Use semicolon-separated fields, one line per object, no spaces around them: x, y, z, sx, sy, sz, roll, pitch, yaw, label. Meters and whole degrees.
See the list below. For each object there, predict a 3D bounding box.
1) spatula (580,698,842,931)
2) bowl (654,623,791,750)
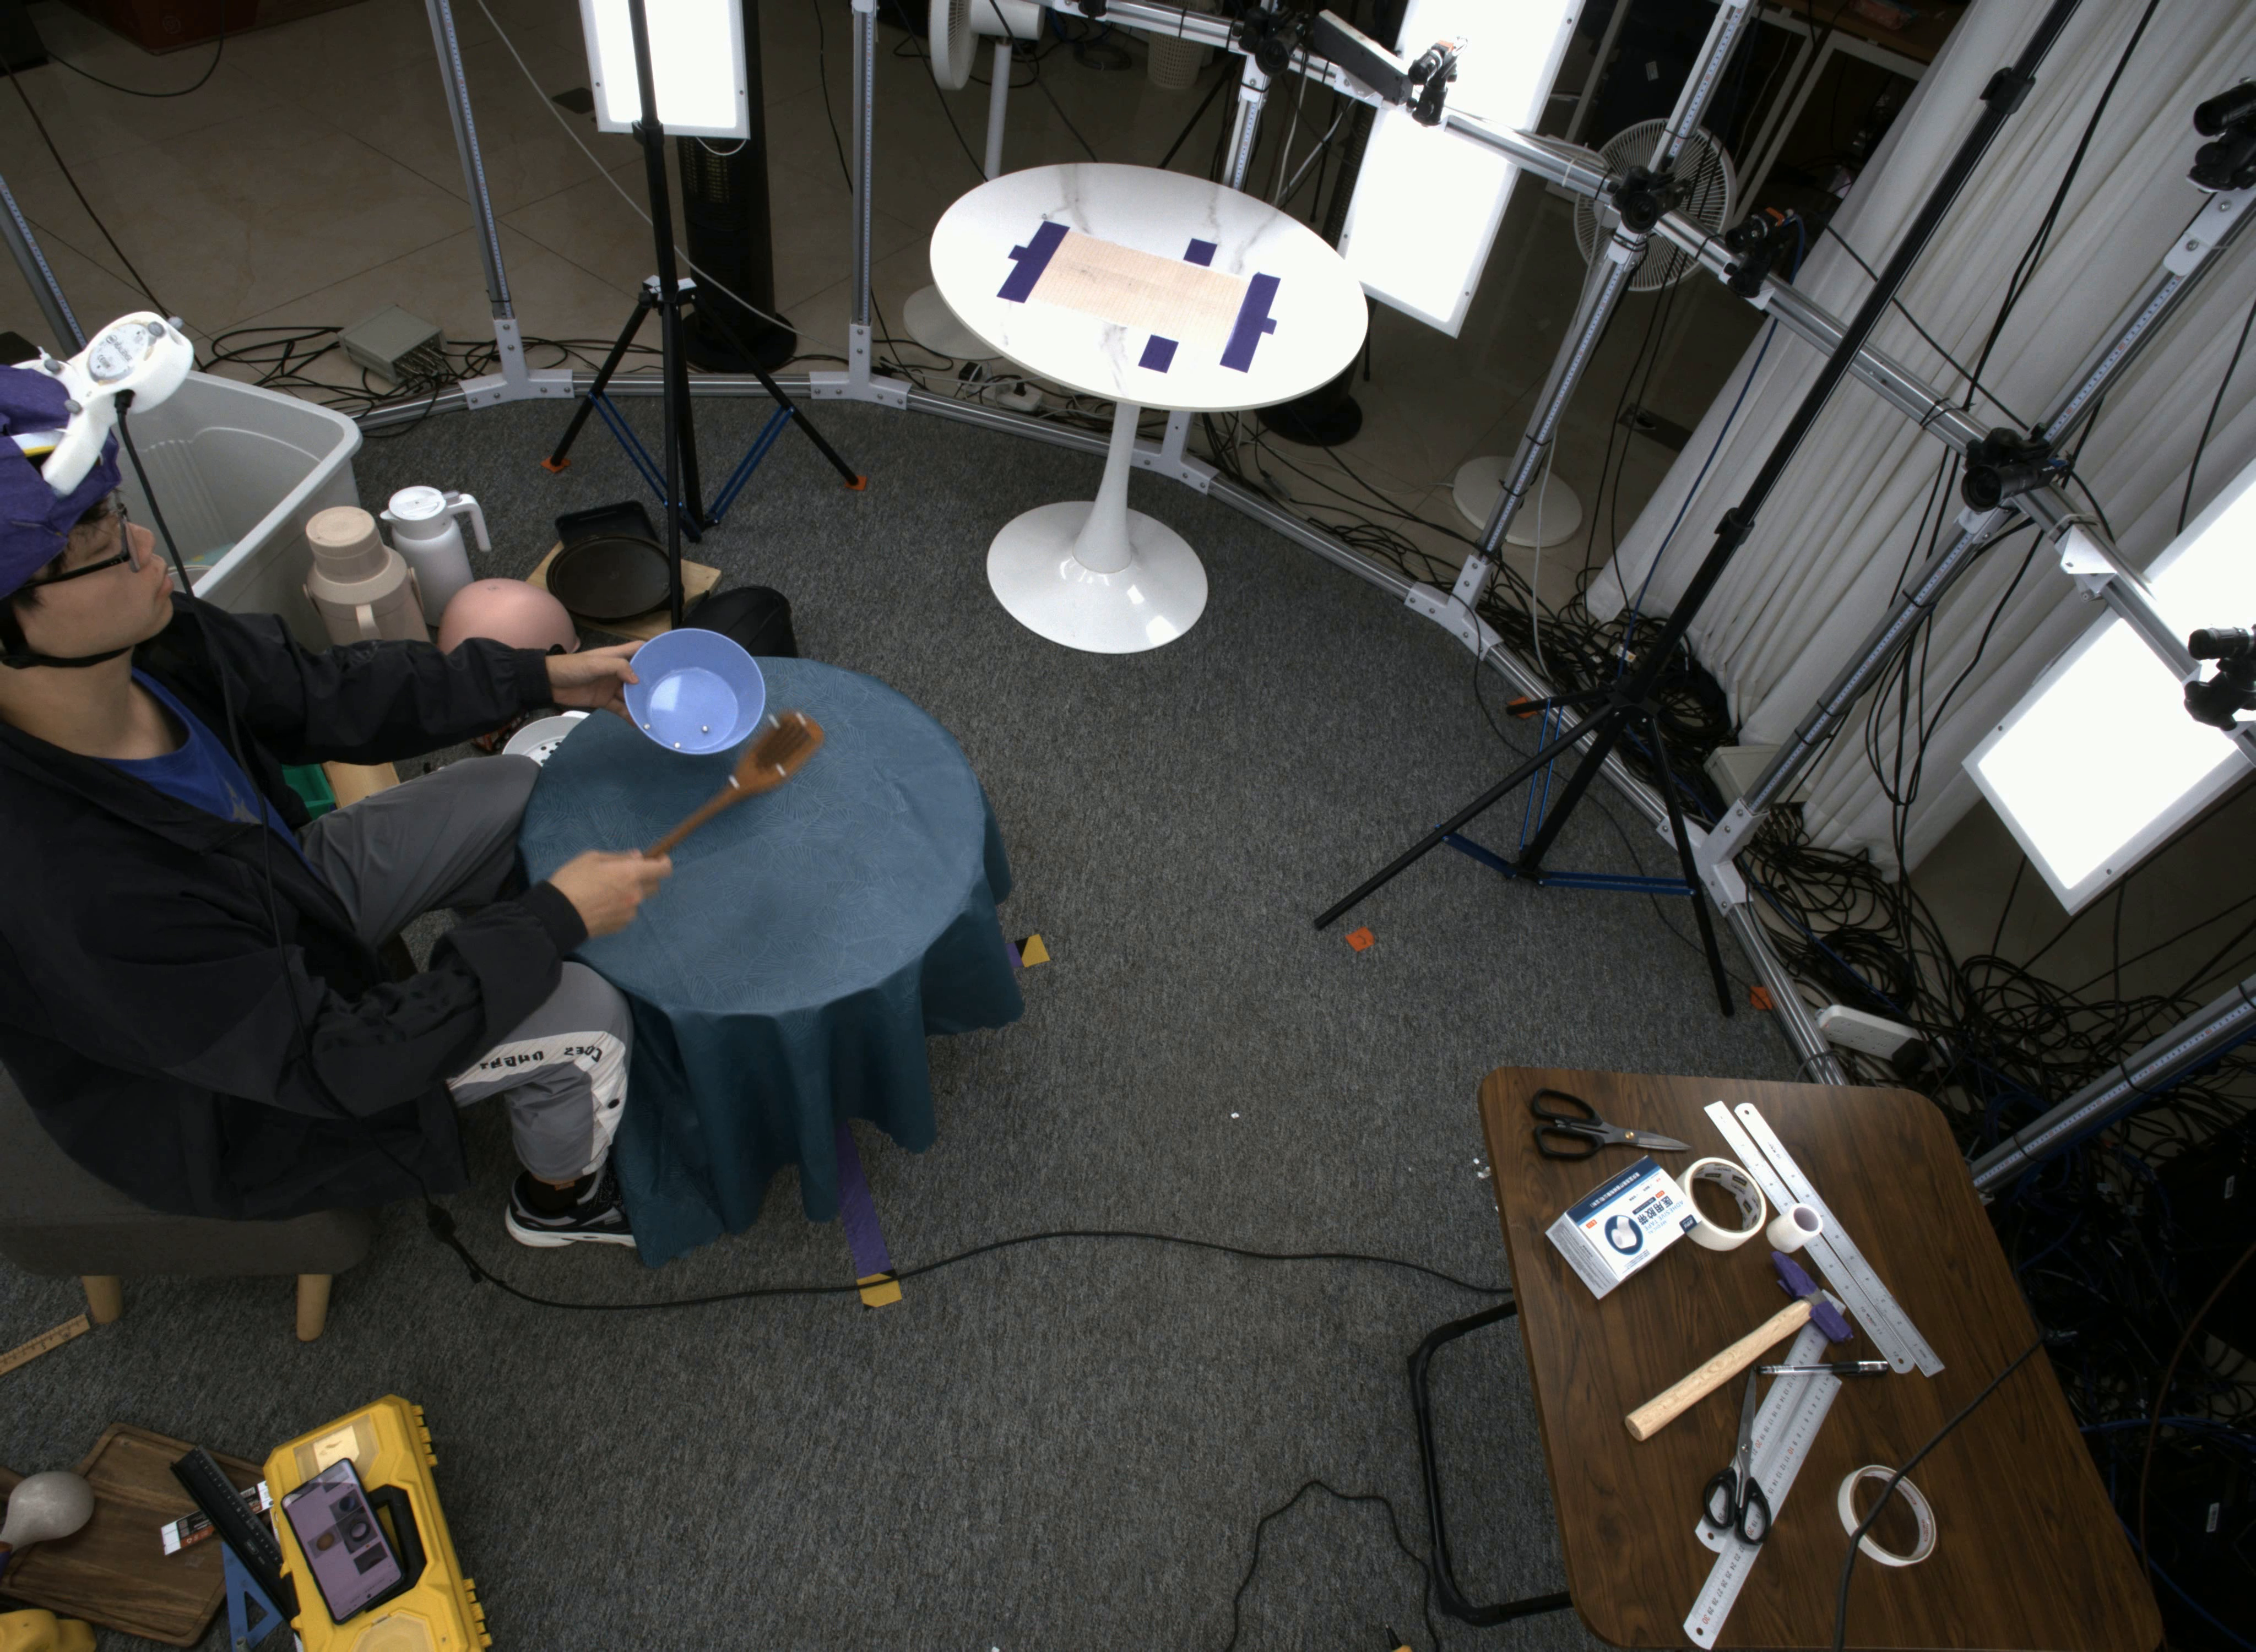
-0.484;-0.014;1.489;0.082;0.025;0.386;30;62;29;spatula
-0.534;-0.172;1.693;0.177;0.070;0.175;7;71;-19;bowl
